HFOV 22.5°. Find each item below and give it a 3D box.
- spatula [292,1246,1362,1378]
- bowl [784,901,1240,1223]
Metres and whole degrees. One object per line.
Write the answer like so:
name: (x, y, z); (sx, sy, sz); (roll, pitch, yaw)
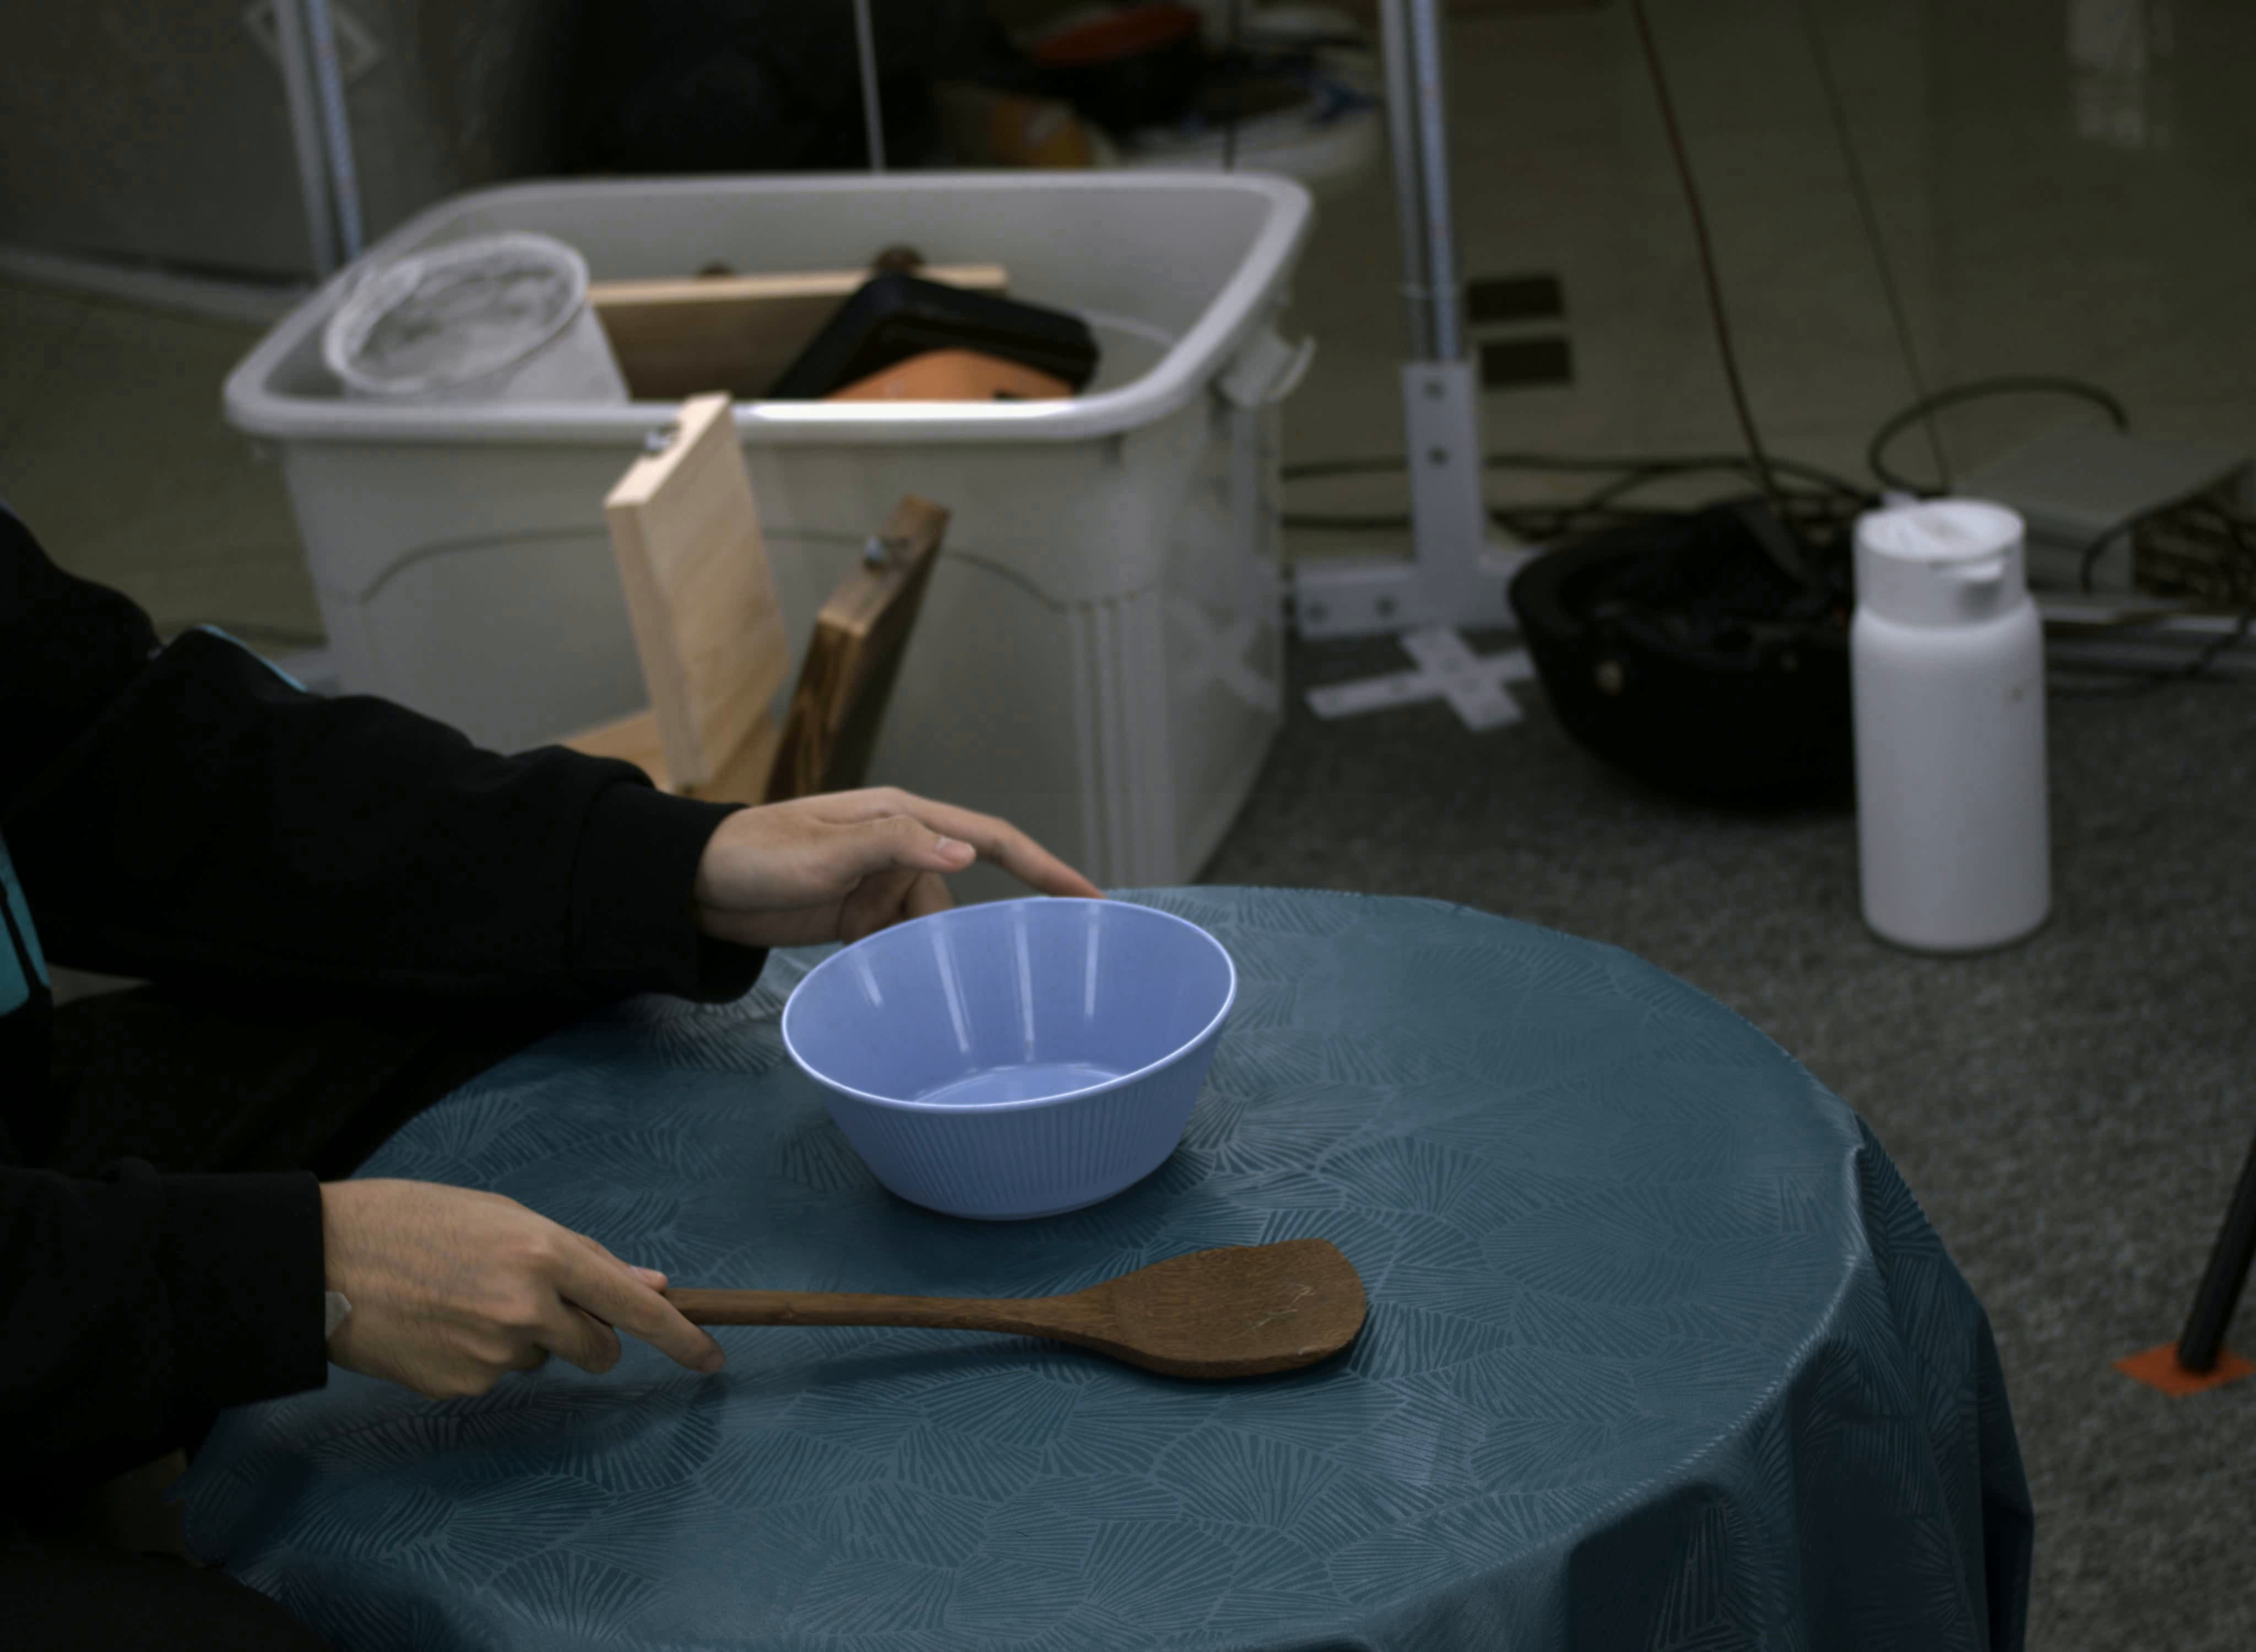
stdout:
spatula: (-0.108, 0.174, 2.046); (0.385, 0.016, 0.095); (1, 22, -2)
bowl: (-0.041, 0.096, 2.172); (0.176, 0.071, 0.173); (-7, 25, 3)
